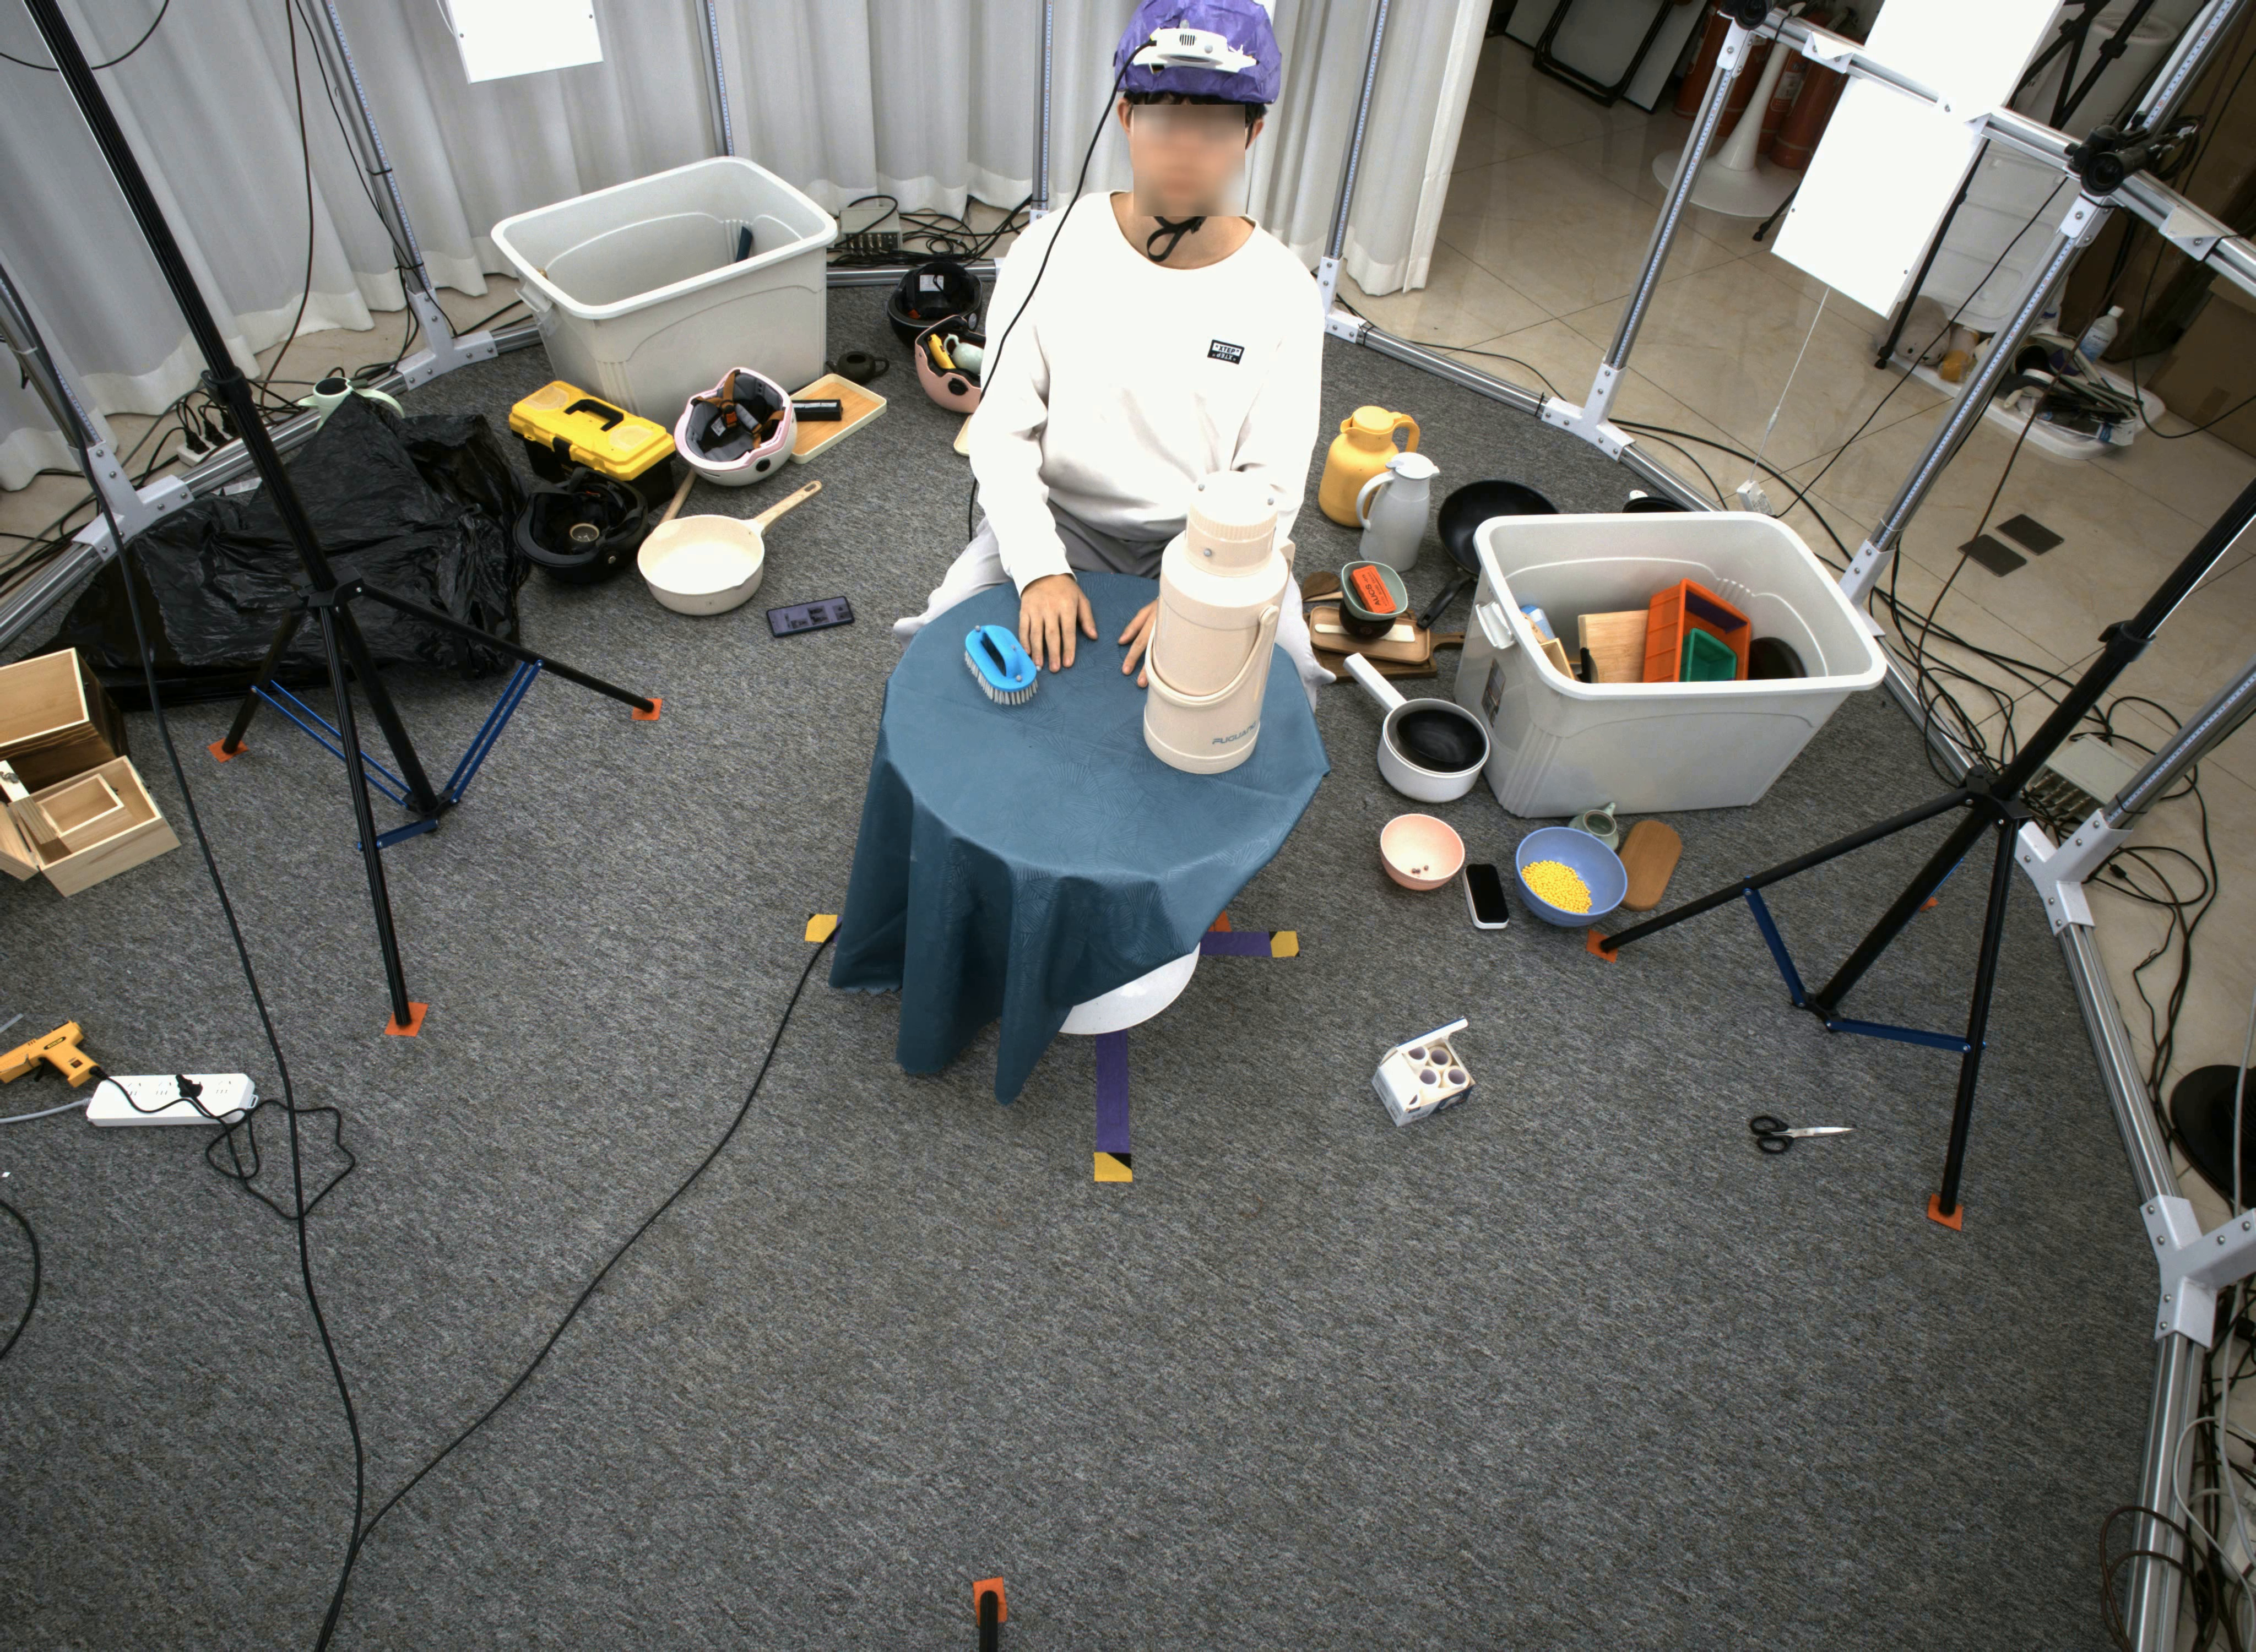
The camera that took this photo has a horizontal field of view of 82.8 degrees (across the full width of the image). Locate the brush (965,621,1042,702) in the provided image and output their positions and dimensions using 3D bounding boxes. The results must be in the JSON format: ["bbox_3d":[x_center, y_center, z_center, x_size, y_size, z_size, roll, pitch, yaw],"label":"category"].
[{"bbox_3d":[-0.179,-0.243,1.821,0.084,0.062,0.145,-22,53,-15],"label":"brush"}]

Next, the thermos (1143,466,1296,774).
[{"bbox_3d":[0.124,-0.263,1.646,0.208,0.396,0.178,-31,57,-28],"label":"thermos"}]
